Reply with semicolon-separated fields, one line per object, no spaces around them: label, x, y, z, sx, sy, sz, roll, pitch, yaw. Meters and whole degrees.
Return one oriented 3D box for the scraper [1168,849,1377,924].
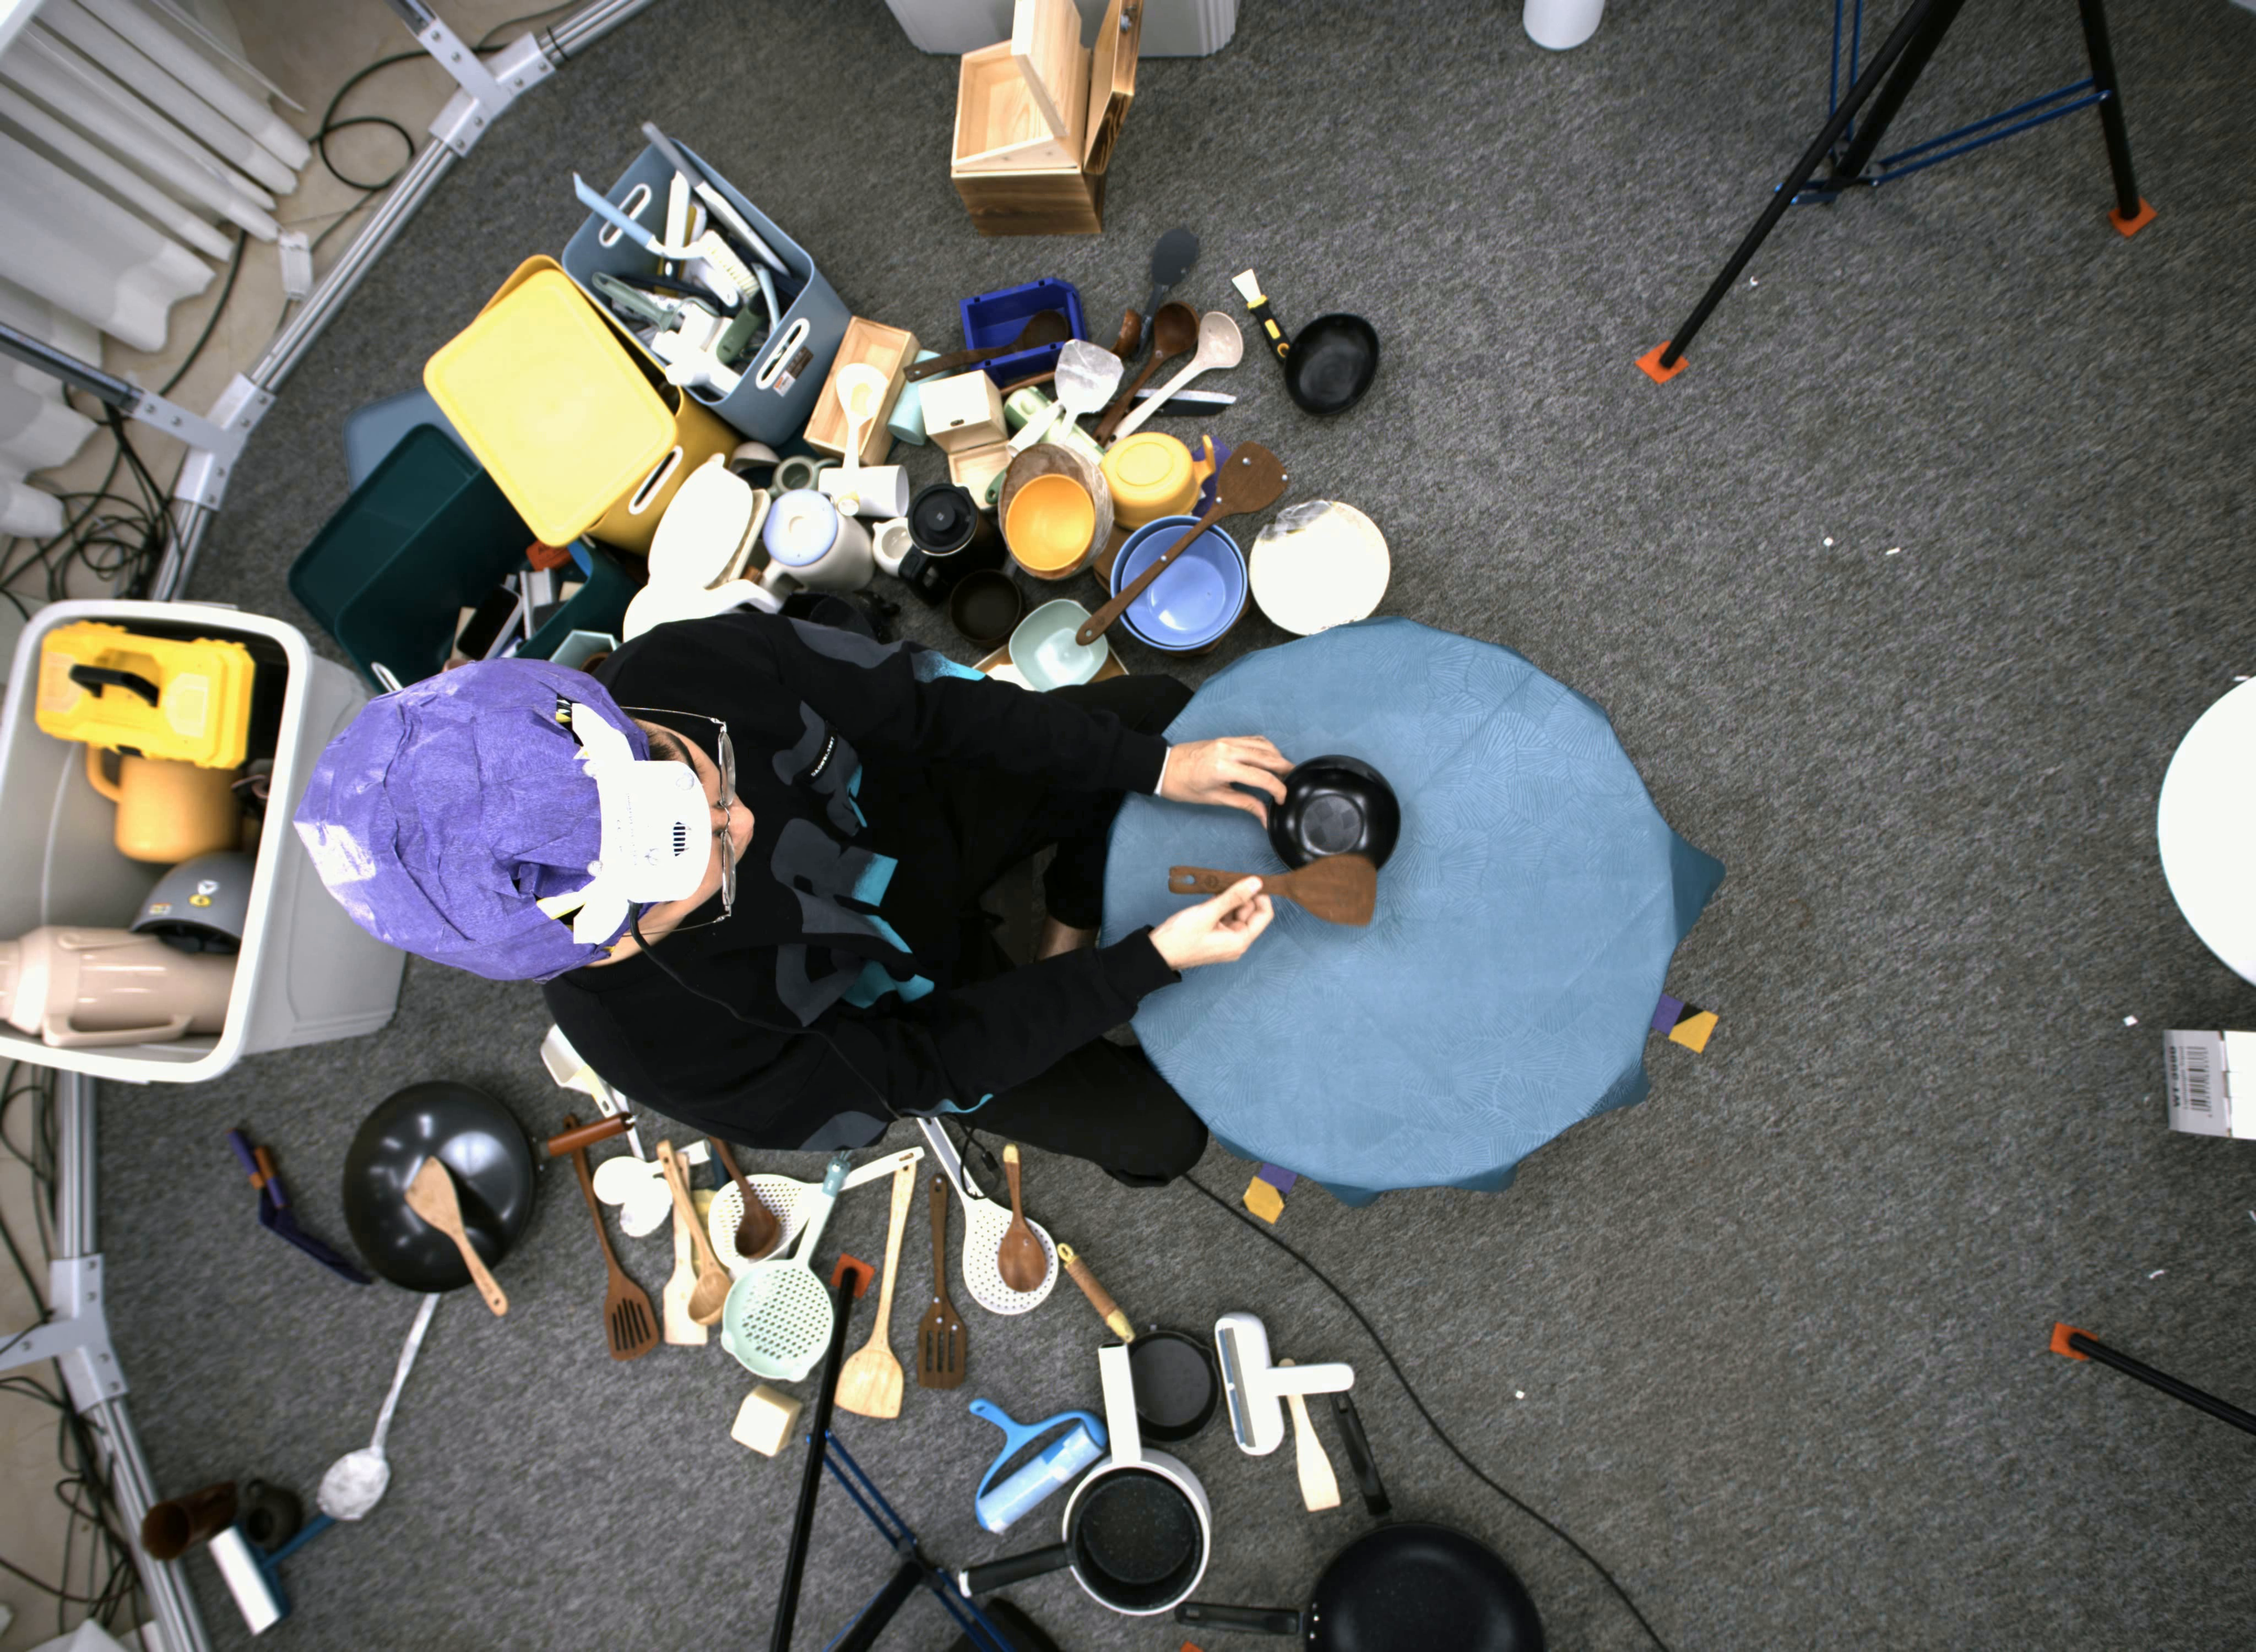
scraper;0.145;0.057;1.396;0.211;0.011;0.076;3;99;-1

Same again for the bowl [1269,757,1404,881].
bowl;0.217;-0.003;1.451;0.140;0.049;0.140;0;90;6
